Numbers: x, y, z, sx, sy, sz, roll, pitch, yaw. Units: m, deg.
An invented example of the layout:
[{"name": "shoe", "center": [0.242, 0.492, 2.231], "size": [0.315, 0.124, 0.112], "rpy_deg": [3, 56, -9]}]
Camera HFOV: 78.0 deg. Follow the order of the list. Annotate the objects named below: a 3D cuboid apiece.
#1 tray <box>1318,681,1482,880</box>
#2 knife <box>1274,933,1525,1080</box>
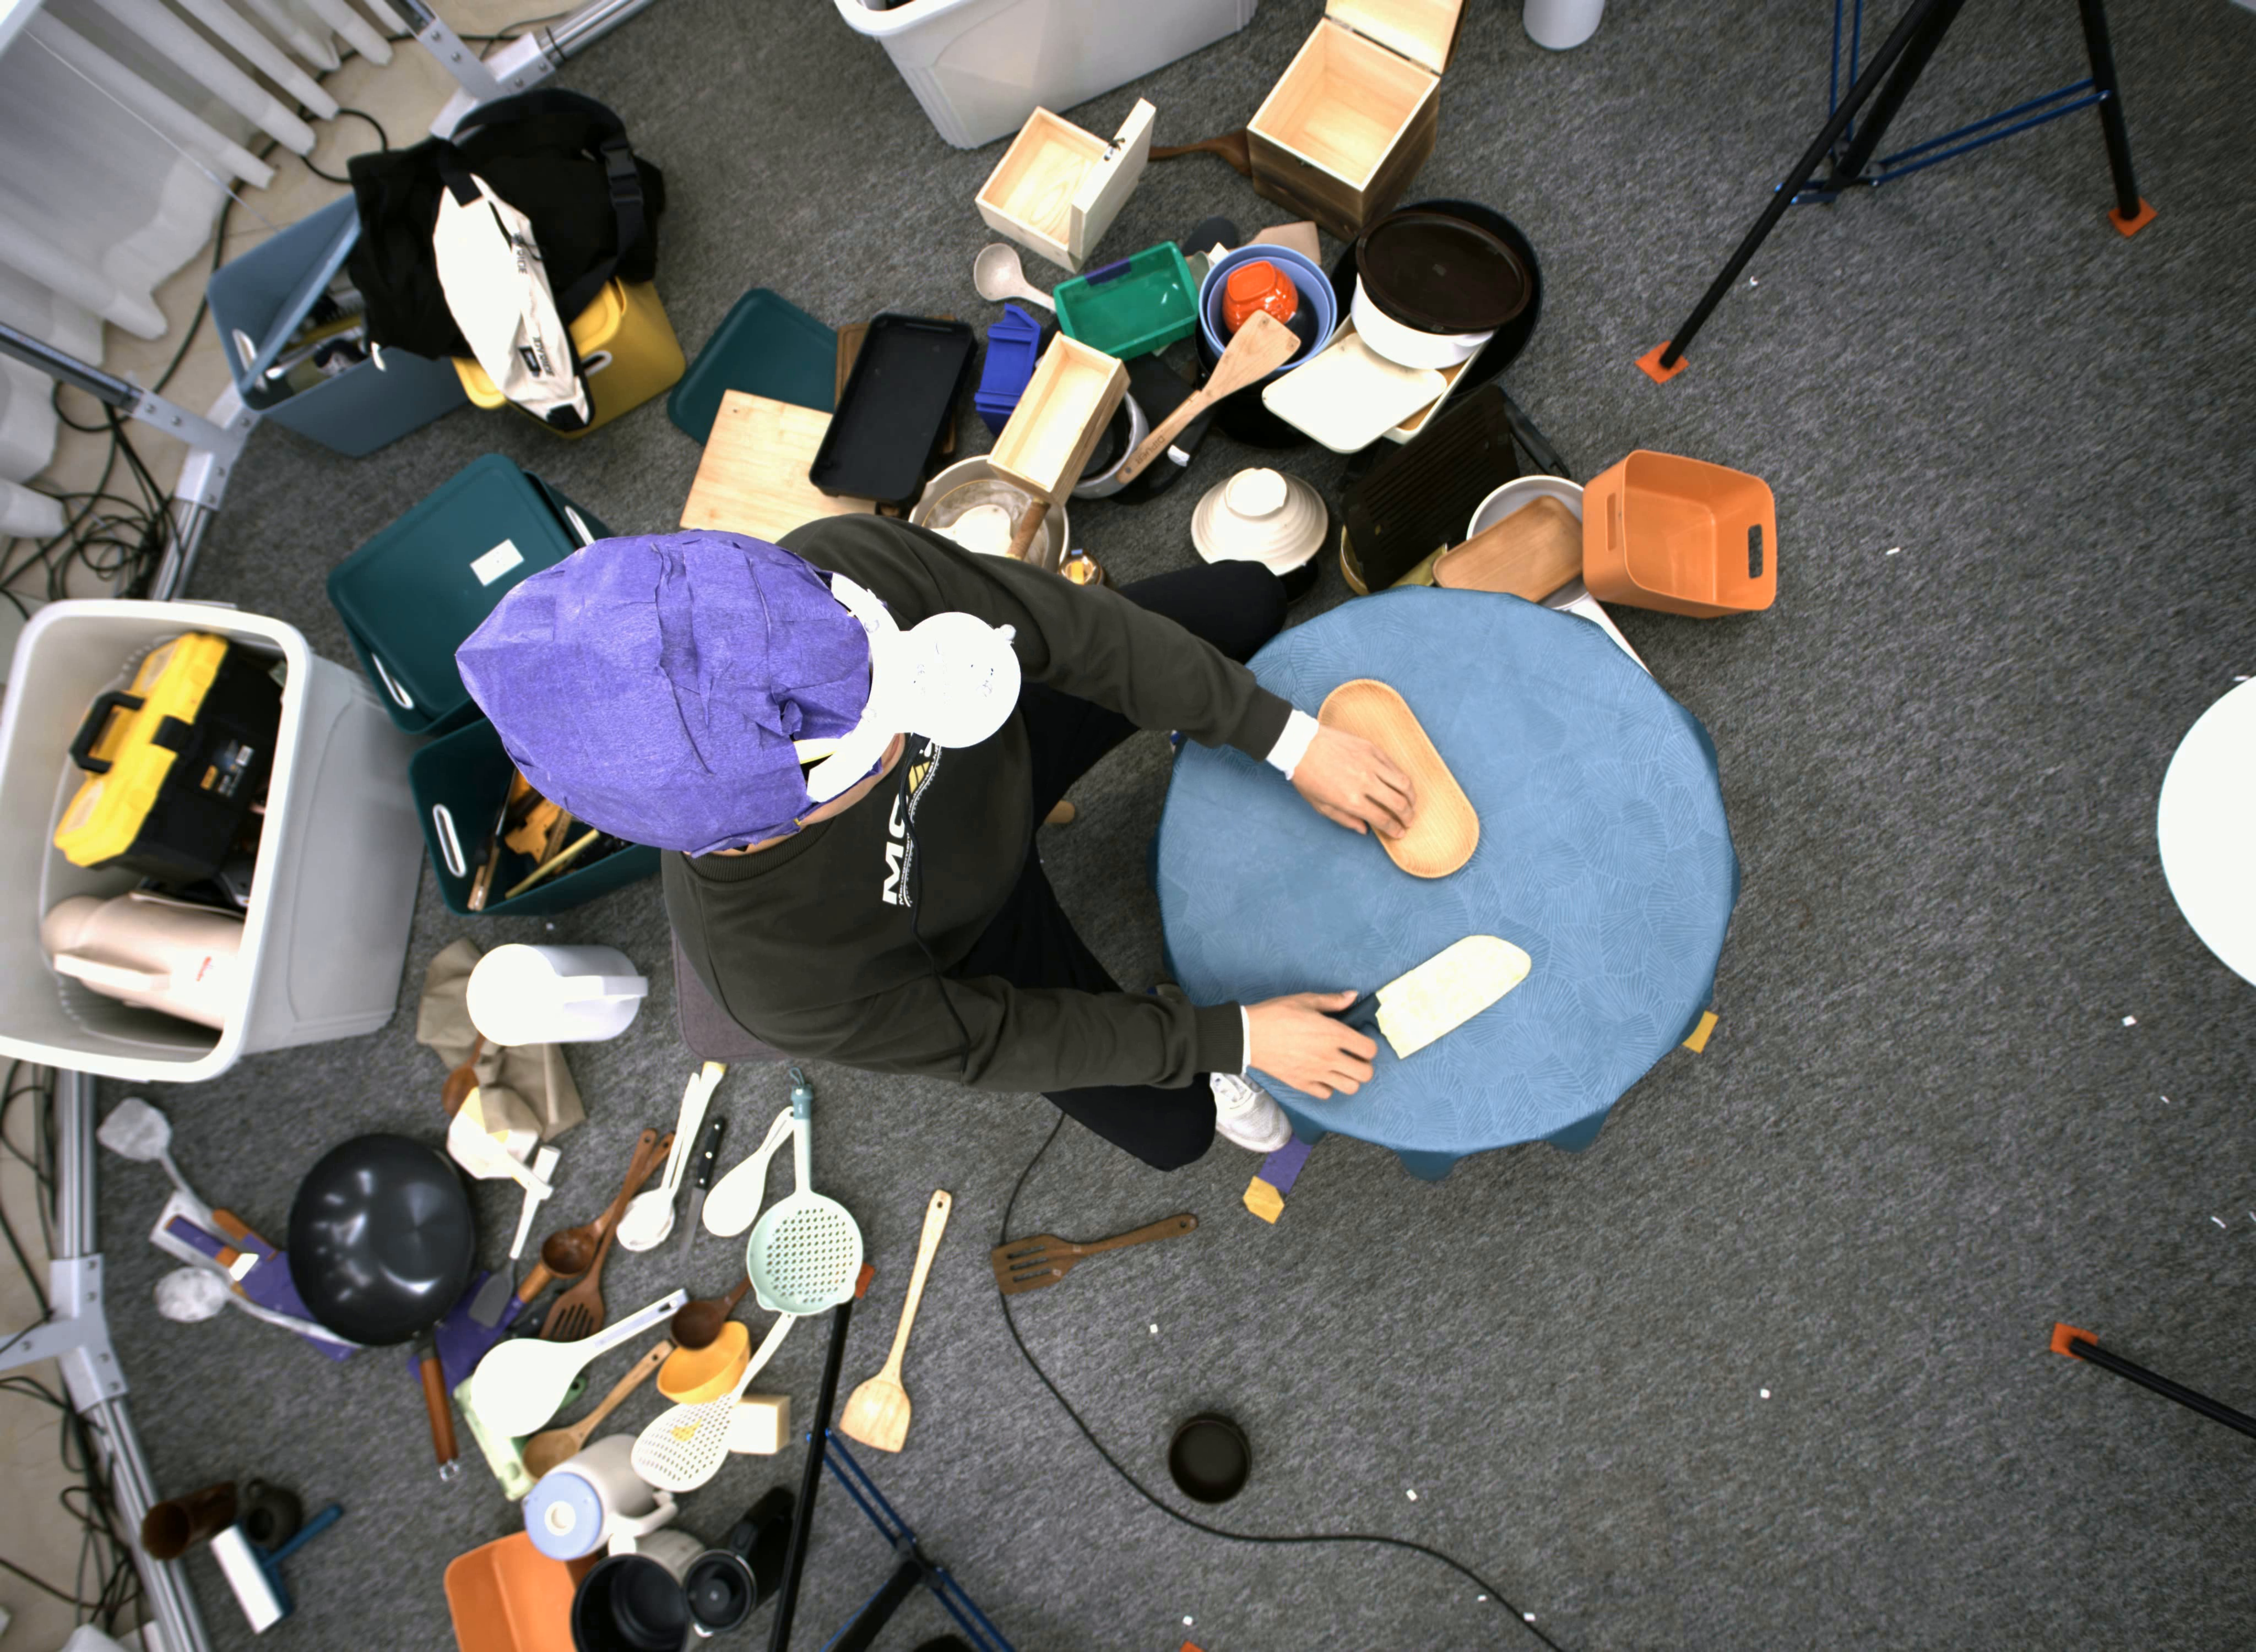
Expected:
[{"name": "tray", "center": [0.286, -0.050, 1.456], "size": [0.102, 0.020, 0.230], "rpy_deg": [-32, 83, 9]}, {"name": "knife", "center": [0.285, 0.196, 1.443], "size": [0.291, 0.027, 0.080], "rpy_deg": [-30, 80, 7]}]
